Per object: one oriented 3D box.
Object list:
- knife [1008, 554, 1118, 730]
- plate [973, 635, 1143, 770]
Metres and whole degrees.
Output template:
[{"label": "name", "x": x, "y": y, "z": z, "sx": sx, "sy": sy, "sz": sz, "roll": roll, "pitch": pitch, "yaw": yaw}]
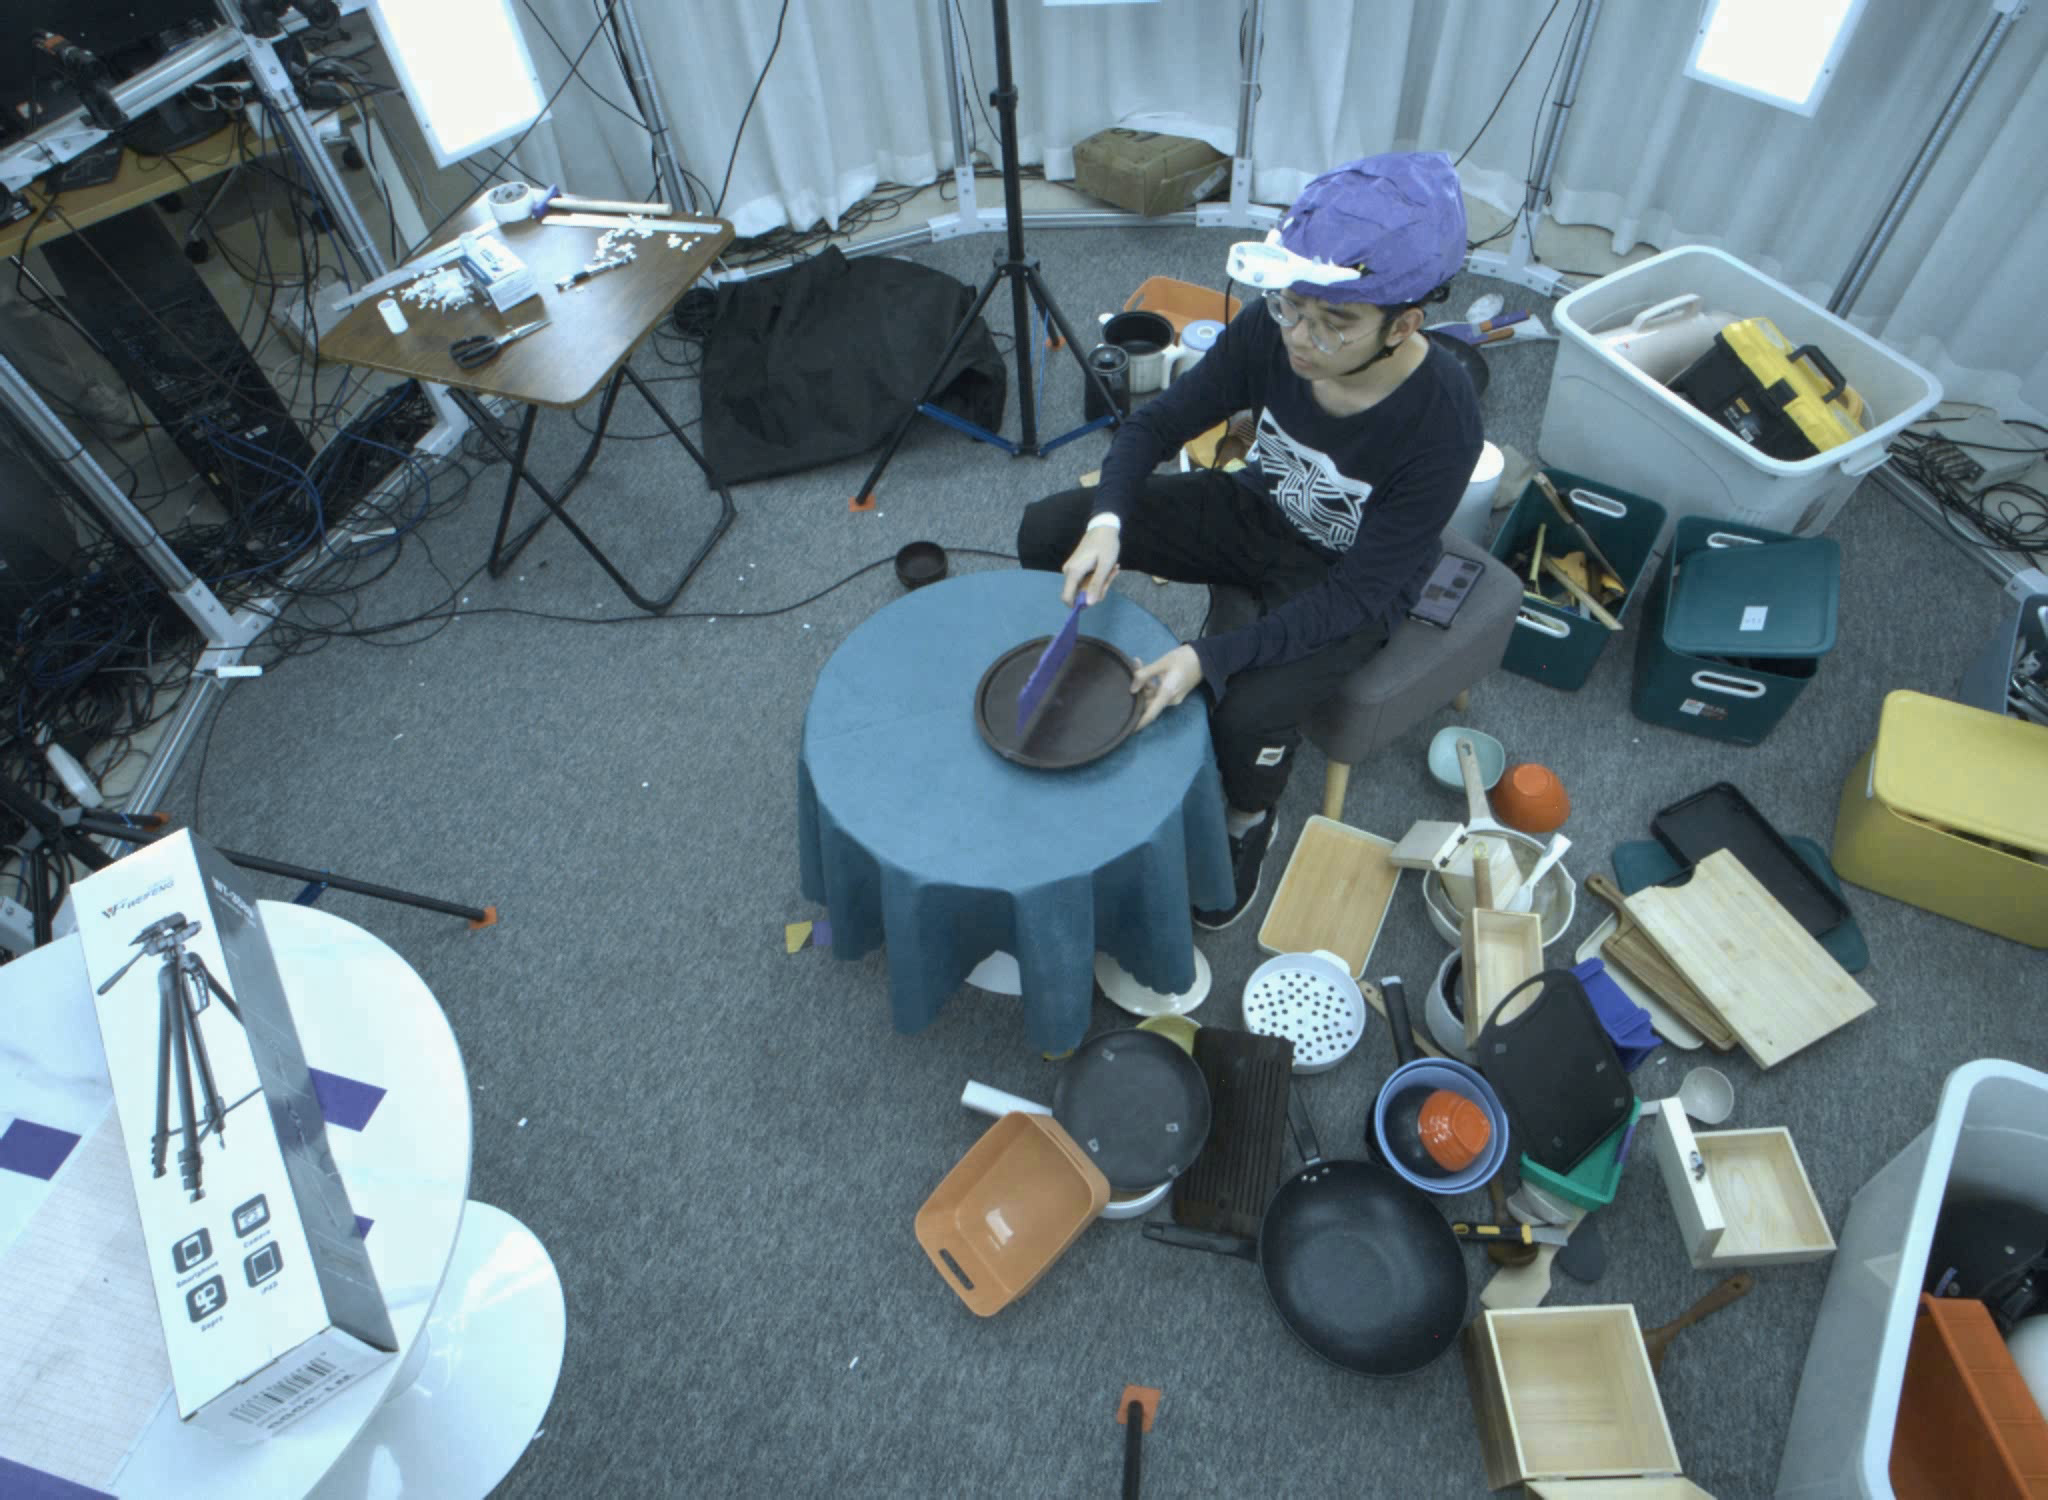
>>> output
[{"label": "knife", "x": 0.053, "y": -0.160, "z": 1.802, "sx": 0.032, "sy": 0.104, "sz": 0.316, "roll": 26, "pitch": 57, "yaw": 13}, {"label": "plate", "x": 0.050, "y": -0.072, "z": 1.821, "sx": 0.254, "sy": 0.029, "sz": 0.252, "roll": -3, "pitch": 55, "yaw": 5}]
